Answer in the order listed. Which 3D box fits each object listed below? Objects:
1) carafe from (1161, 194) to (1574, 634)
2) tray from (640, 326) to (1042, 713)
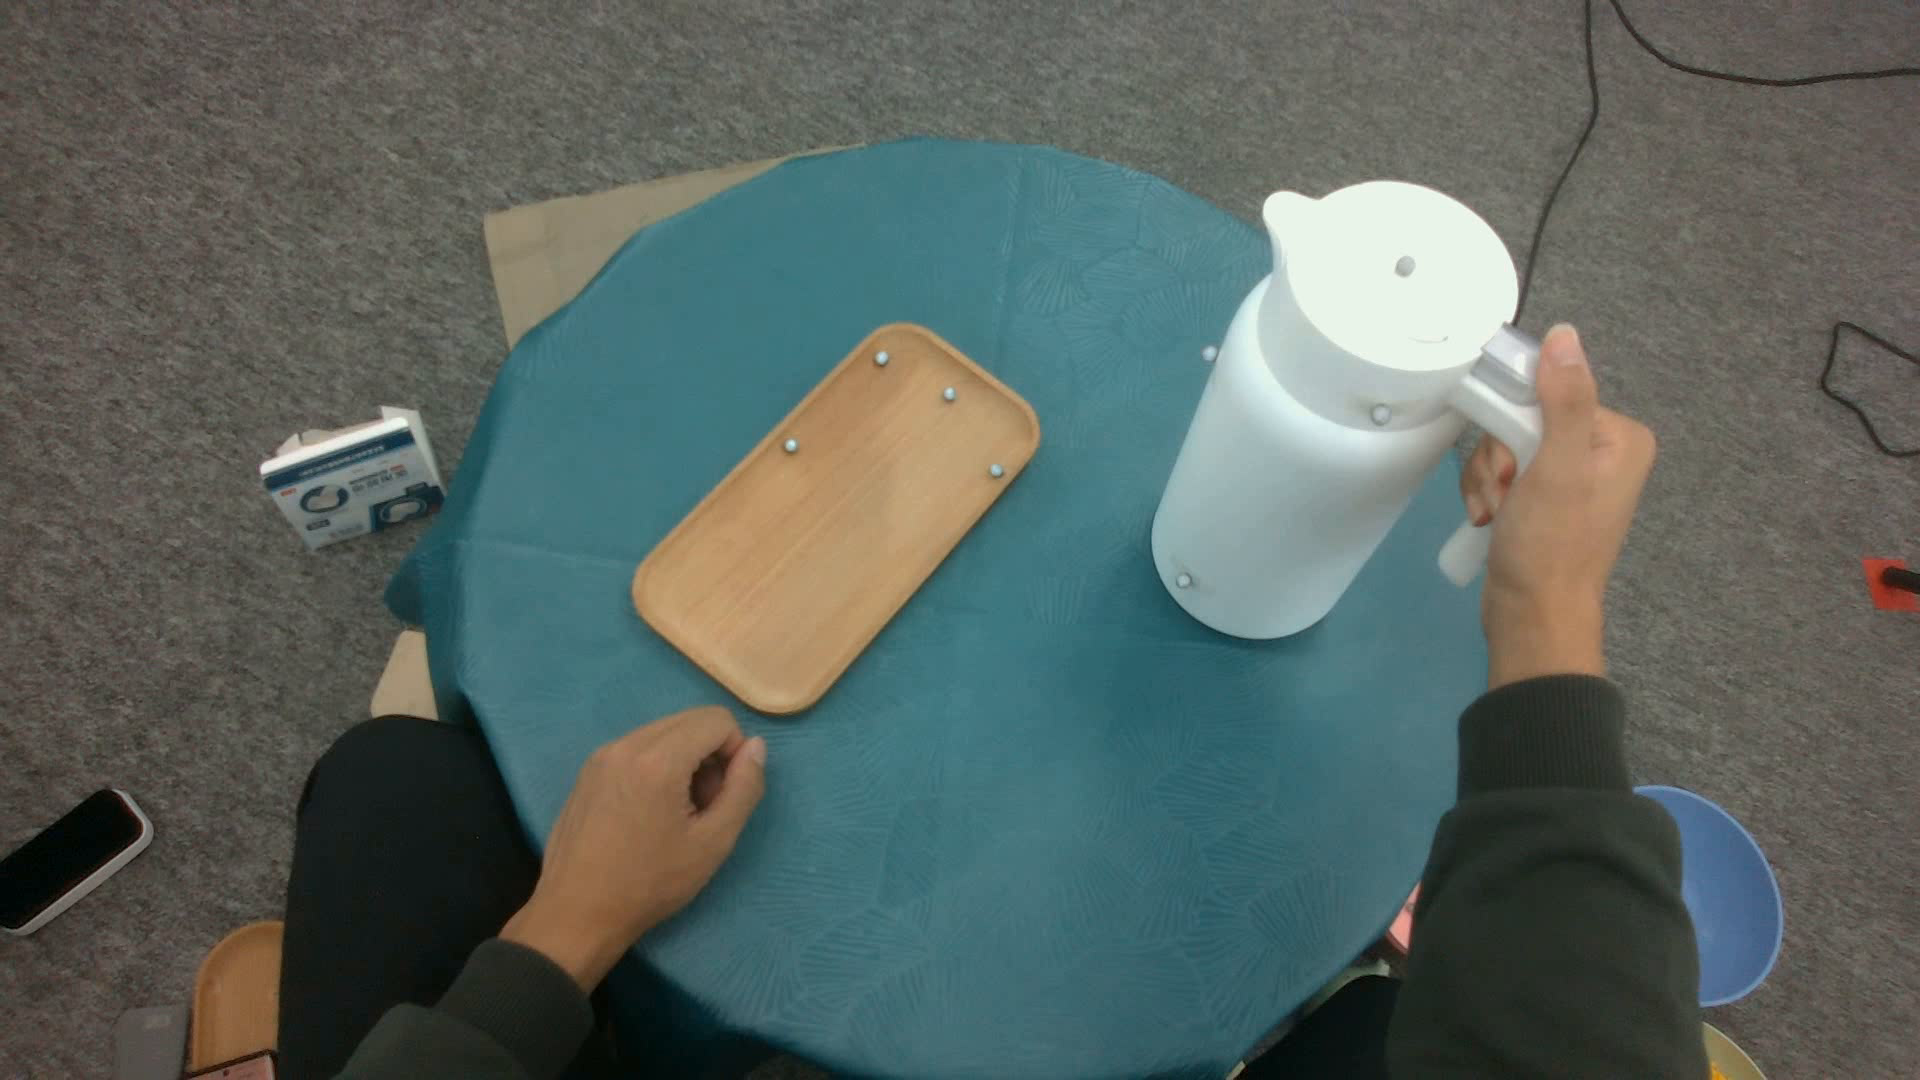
[{"bbox_3d":[0.196,-0.044,0.710,0.173,0.267,0.124,40,66,16],"label":"carafe"},{"bbox_3d":[-0.065,-0.018,0.812,0.130,0.023,0.251,36,67,13],"label":"tray"}]
